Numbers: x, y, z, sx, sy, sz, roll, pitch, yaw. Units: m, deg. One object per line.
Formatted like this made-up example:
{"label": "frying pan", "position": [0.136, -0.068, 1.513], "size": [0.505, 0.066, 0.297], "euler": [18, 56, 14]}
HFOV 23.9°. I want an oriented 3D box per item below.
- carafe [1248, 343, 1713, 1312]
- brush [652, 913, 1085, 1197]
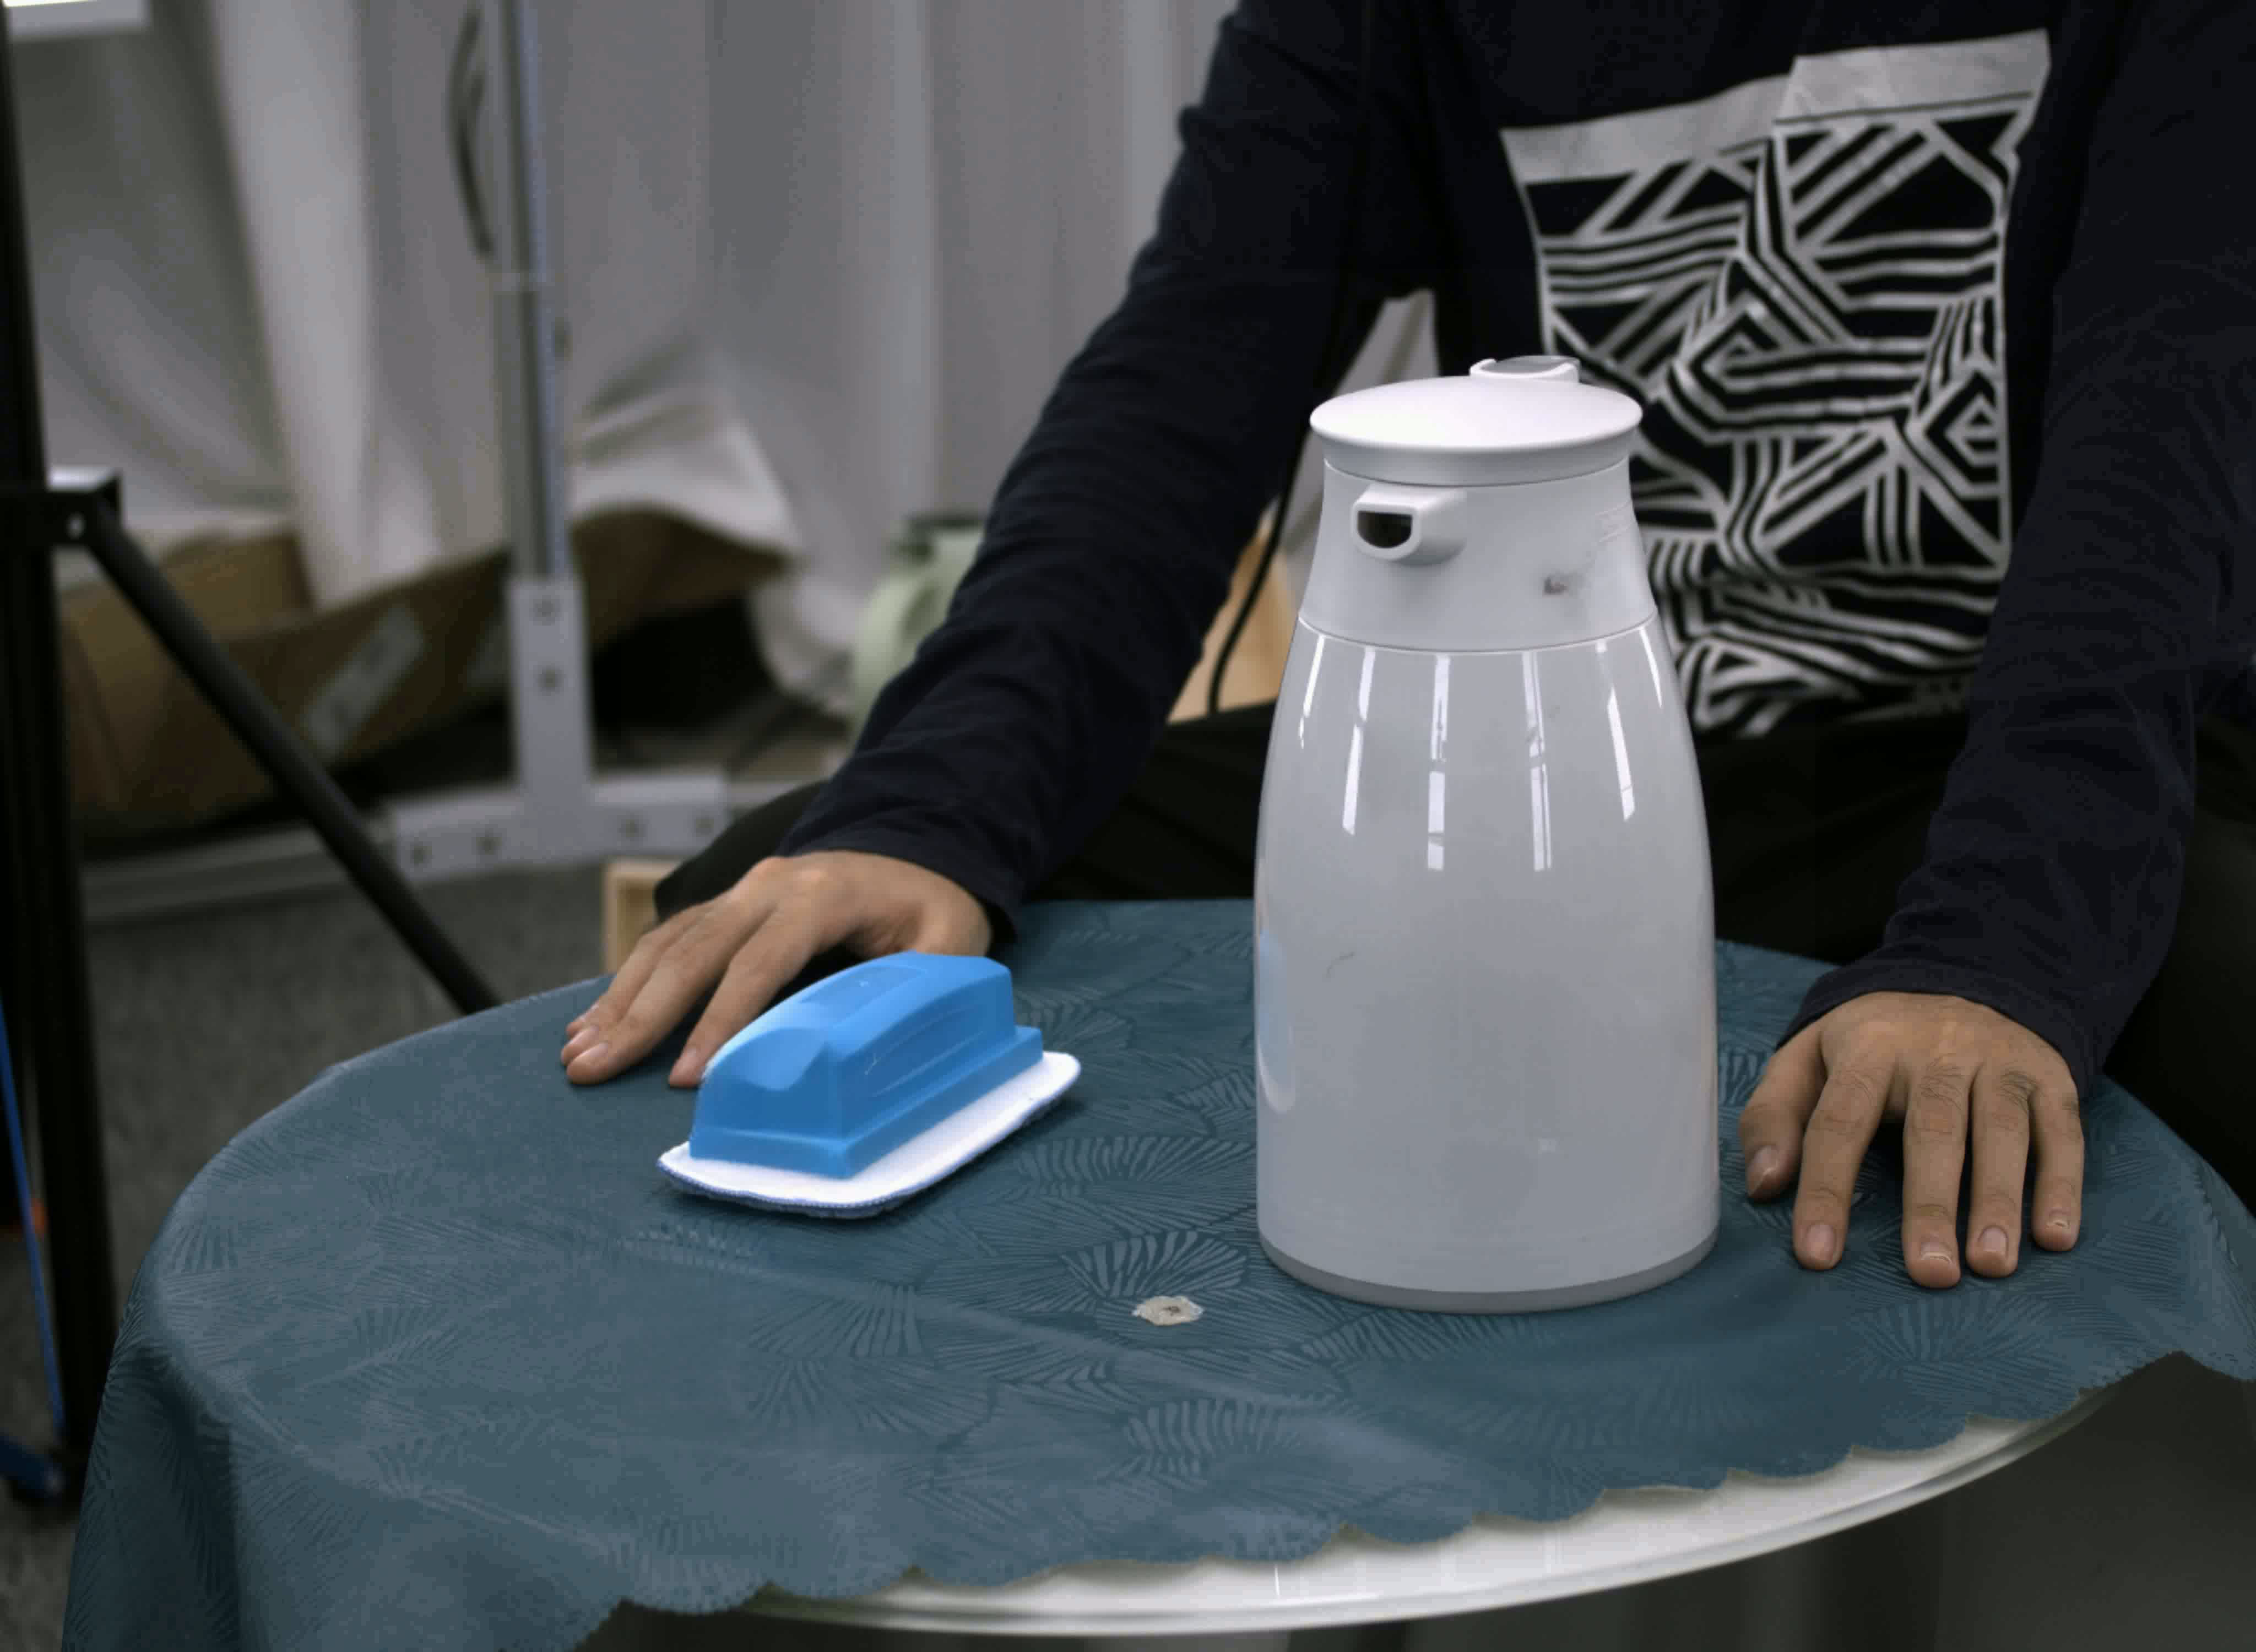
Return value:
{"label": "carafe", "position": [0.105, -0.008, 1.499], "size": [0.134, 0.249, 0.165], "euler": [5, 16, 25]}
{"label": "brush", "position": [-0.077, 0.065, 1.612], "size": [0.085, 0.056, 0.141], "euler": [10, 22, 29]}
